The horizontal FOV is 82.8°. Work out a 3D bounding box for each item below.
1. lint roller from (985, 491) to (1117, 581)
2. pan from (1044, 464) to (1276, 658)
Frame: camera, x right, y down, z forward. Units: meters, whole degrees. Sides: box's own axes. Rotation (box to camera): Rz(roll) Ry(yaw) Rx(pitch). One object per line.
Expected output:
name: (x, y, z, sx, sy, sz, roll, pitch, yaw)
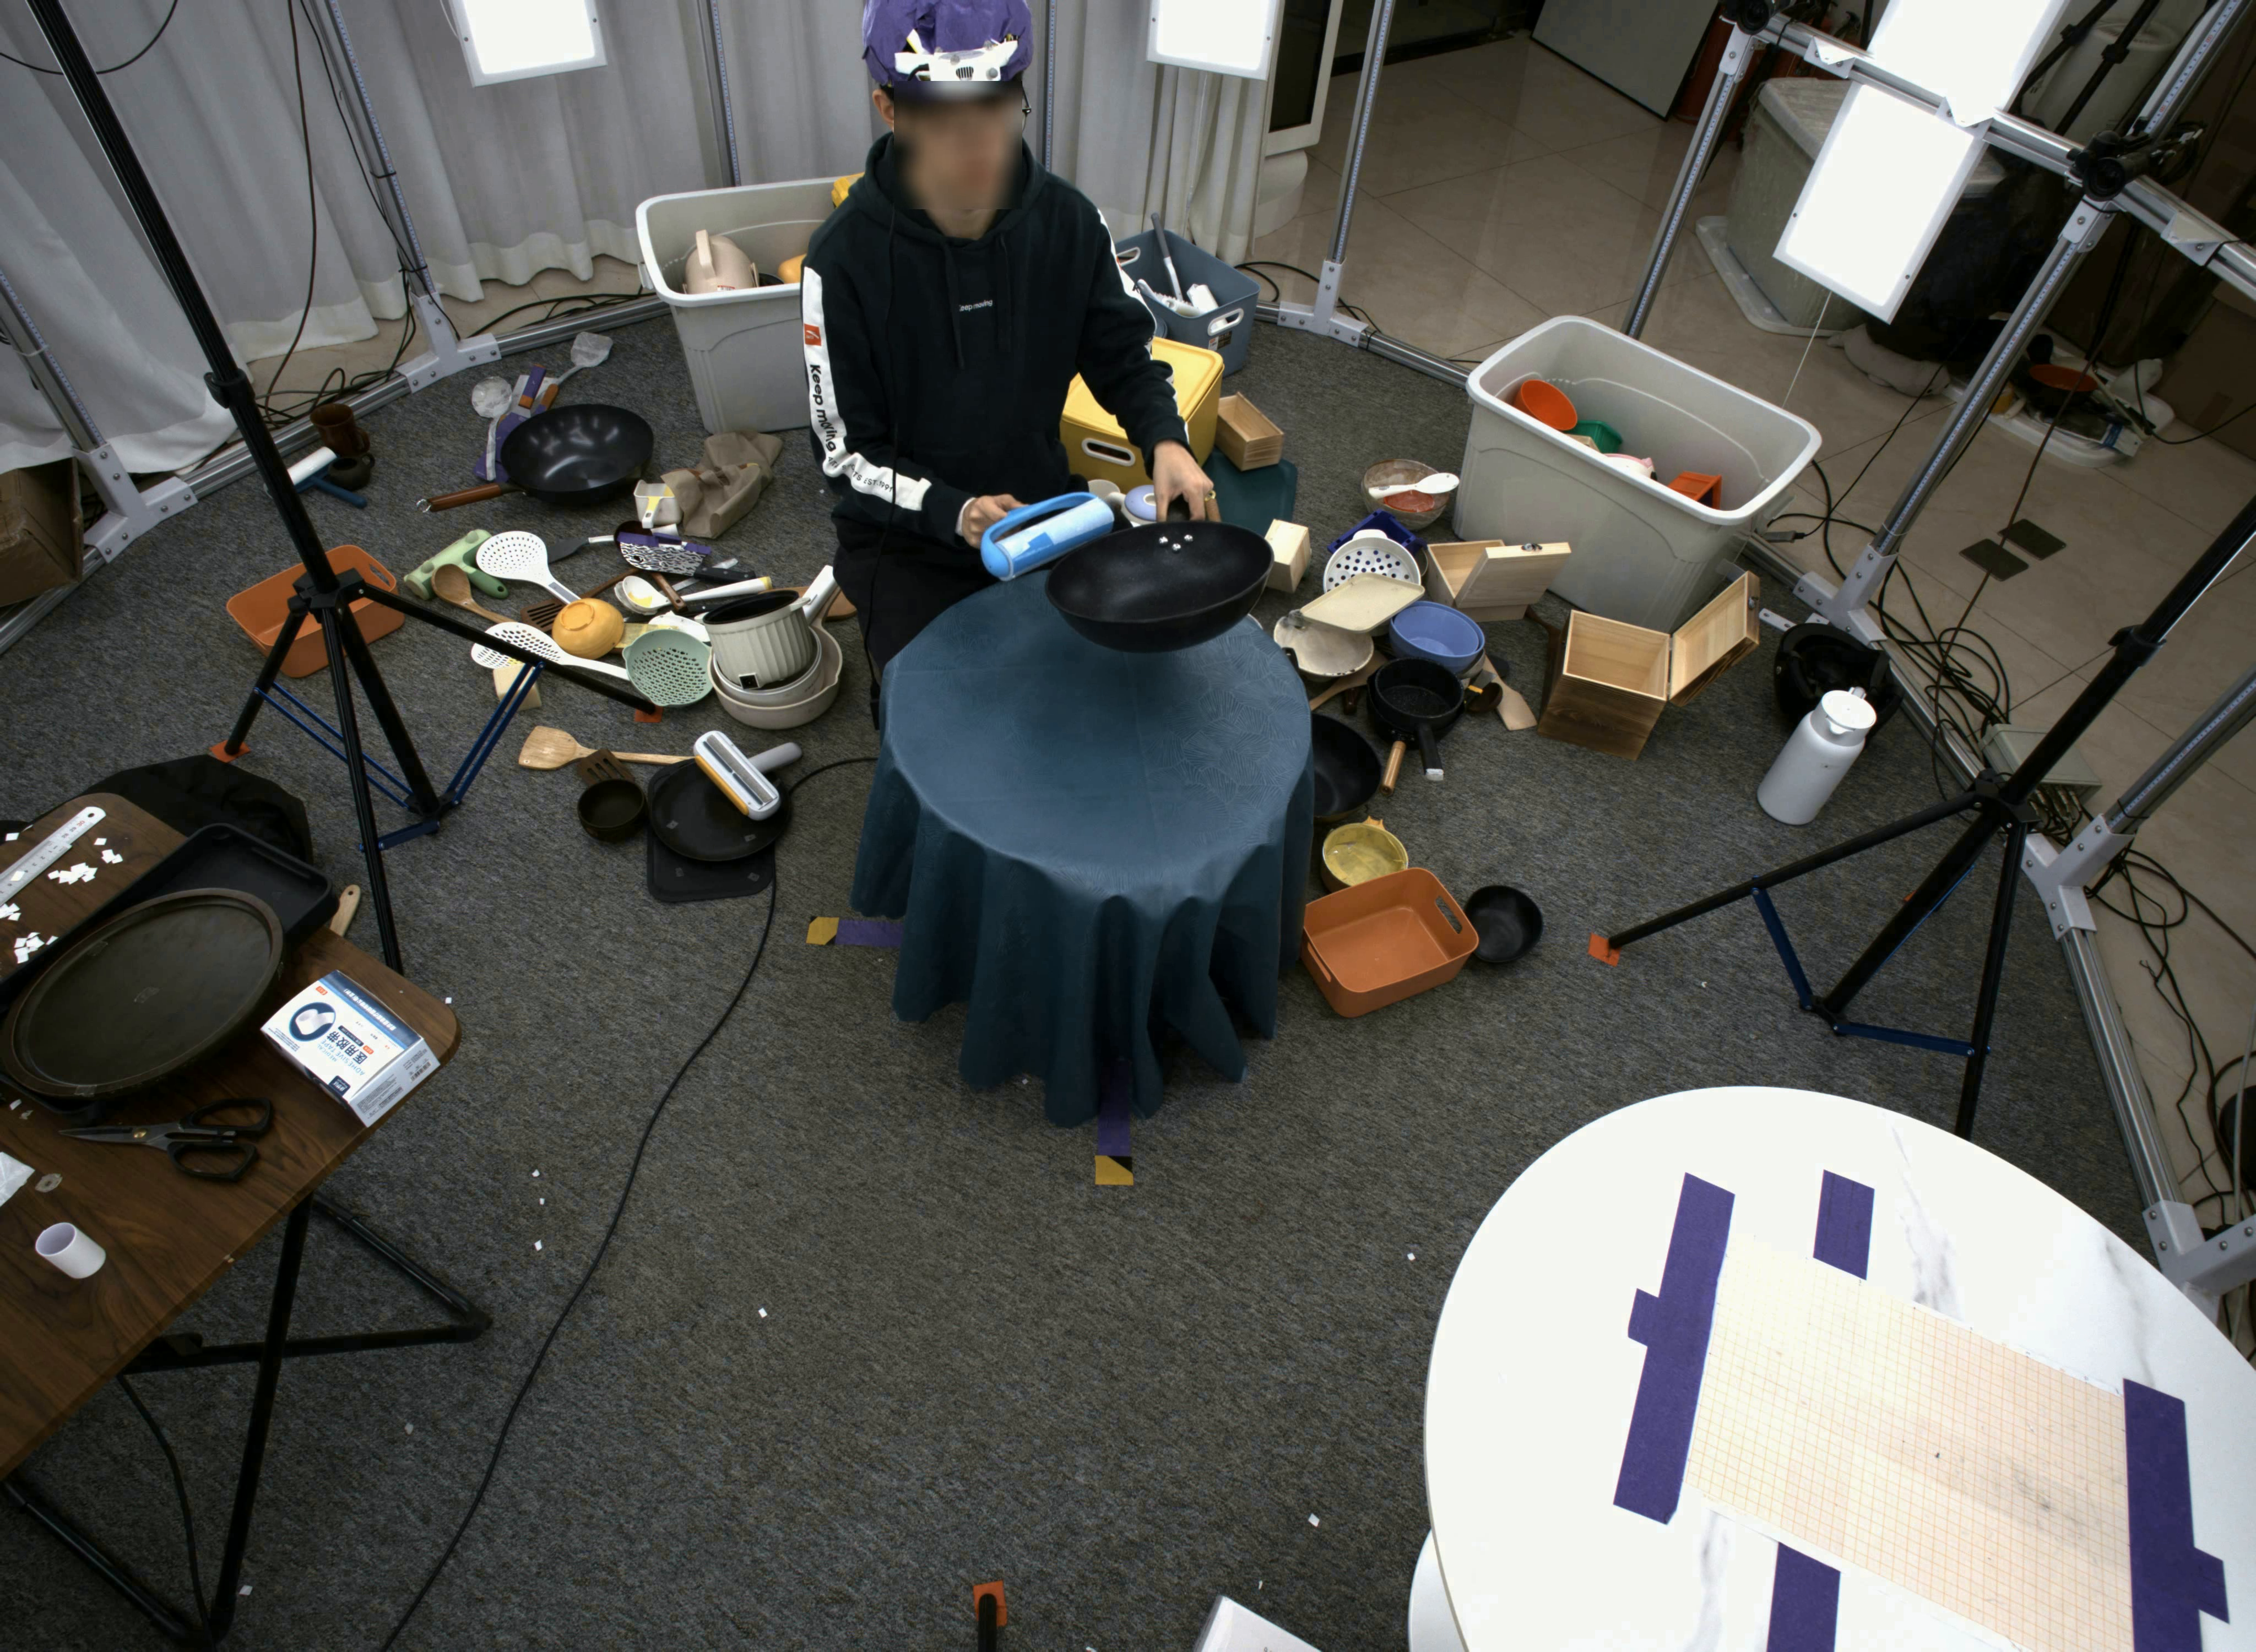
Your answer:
lint roller: (-0.146, -0.420, 1.835, 0.182, 0.066, 0.231, 21, 44, 37)
pan: (0.058, -0.365, 1.792, 0.310, 0.109, 0.487, 0, 35, 11)
